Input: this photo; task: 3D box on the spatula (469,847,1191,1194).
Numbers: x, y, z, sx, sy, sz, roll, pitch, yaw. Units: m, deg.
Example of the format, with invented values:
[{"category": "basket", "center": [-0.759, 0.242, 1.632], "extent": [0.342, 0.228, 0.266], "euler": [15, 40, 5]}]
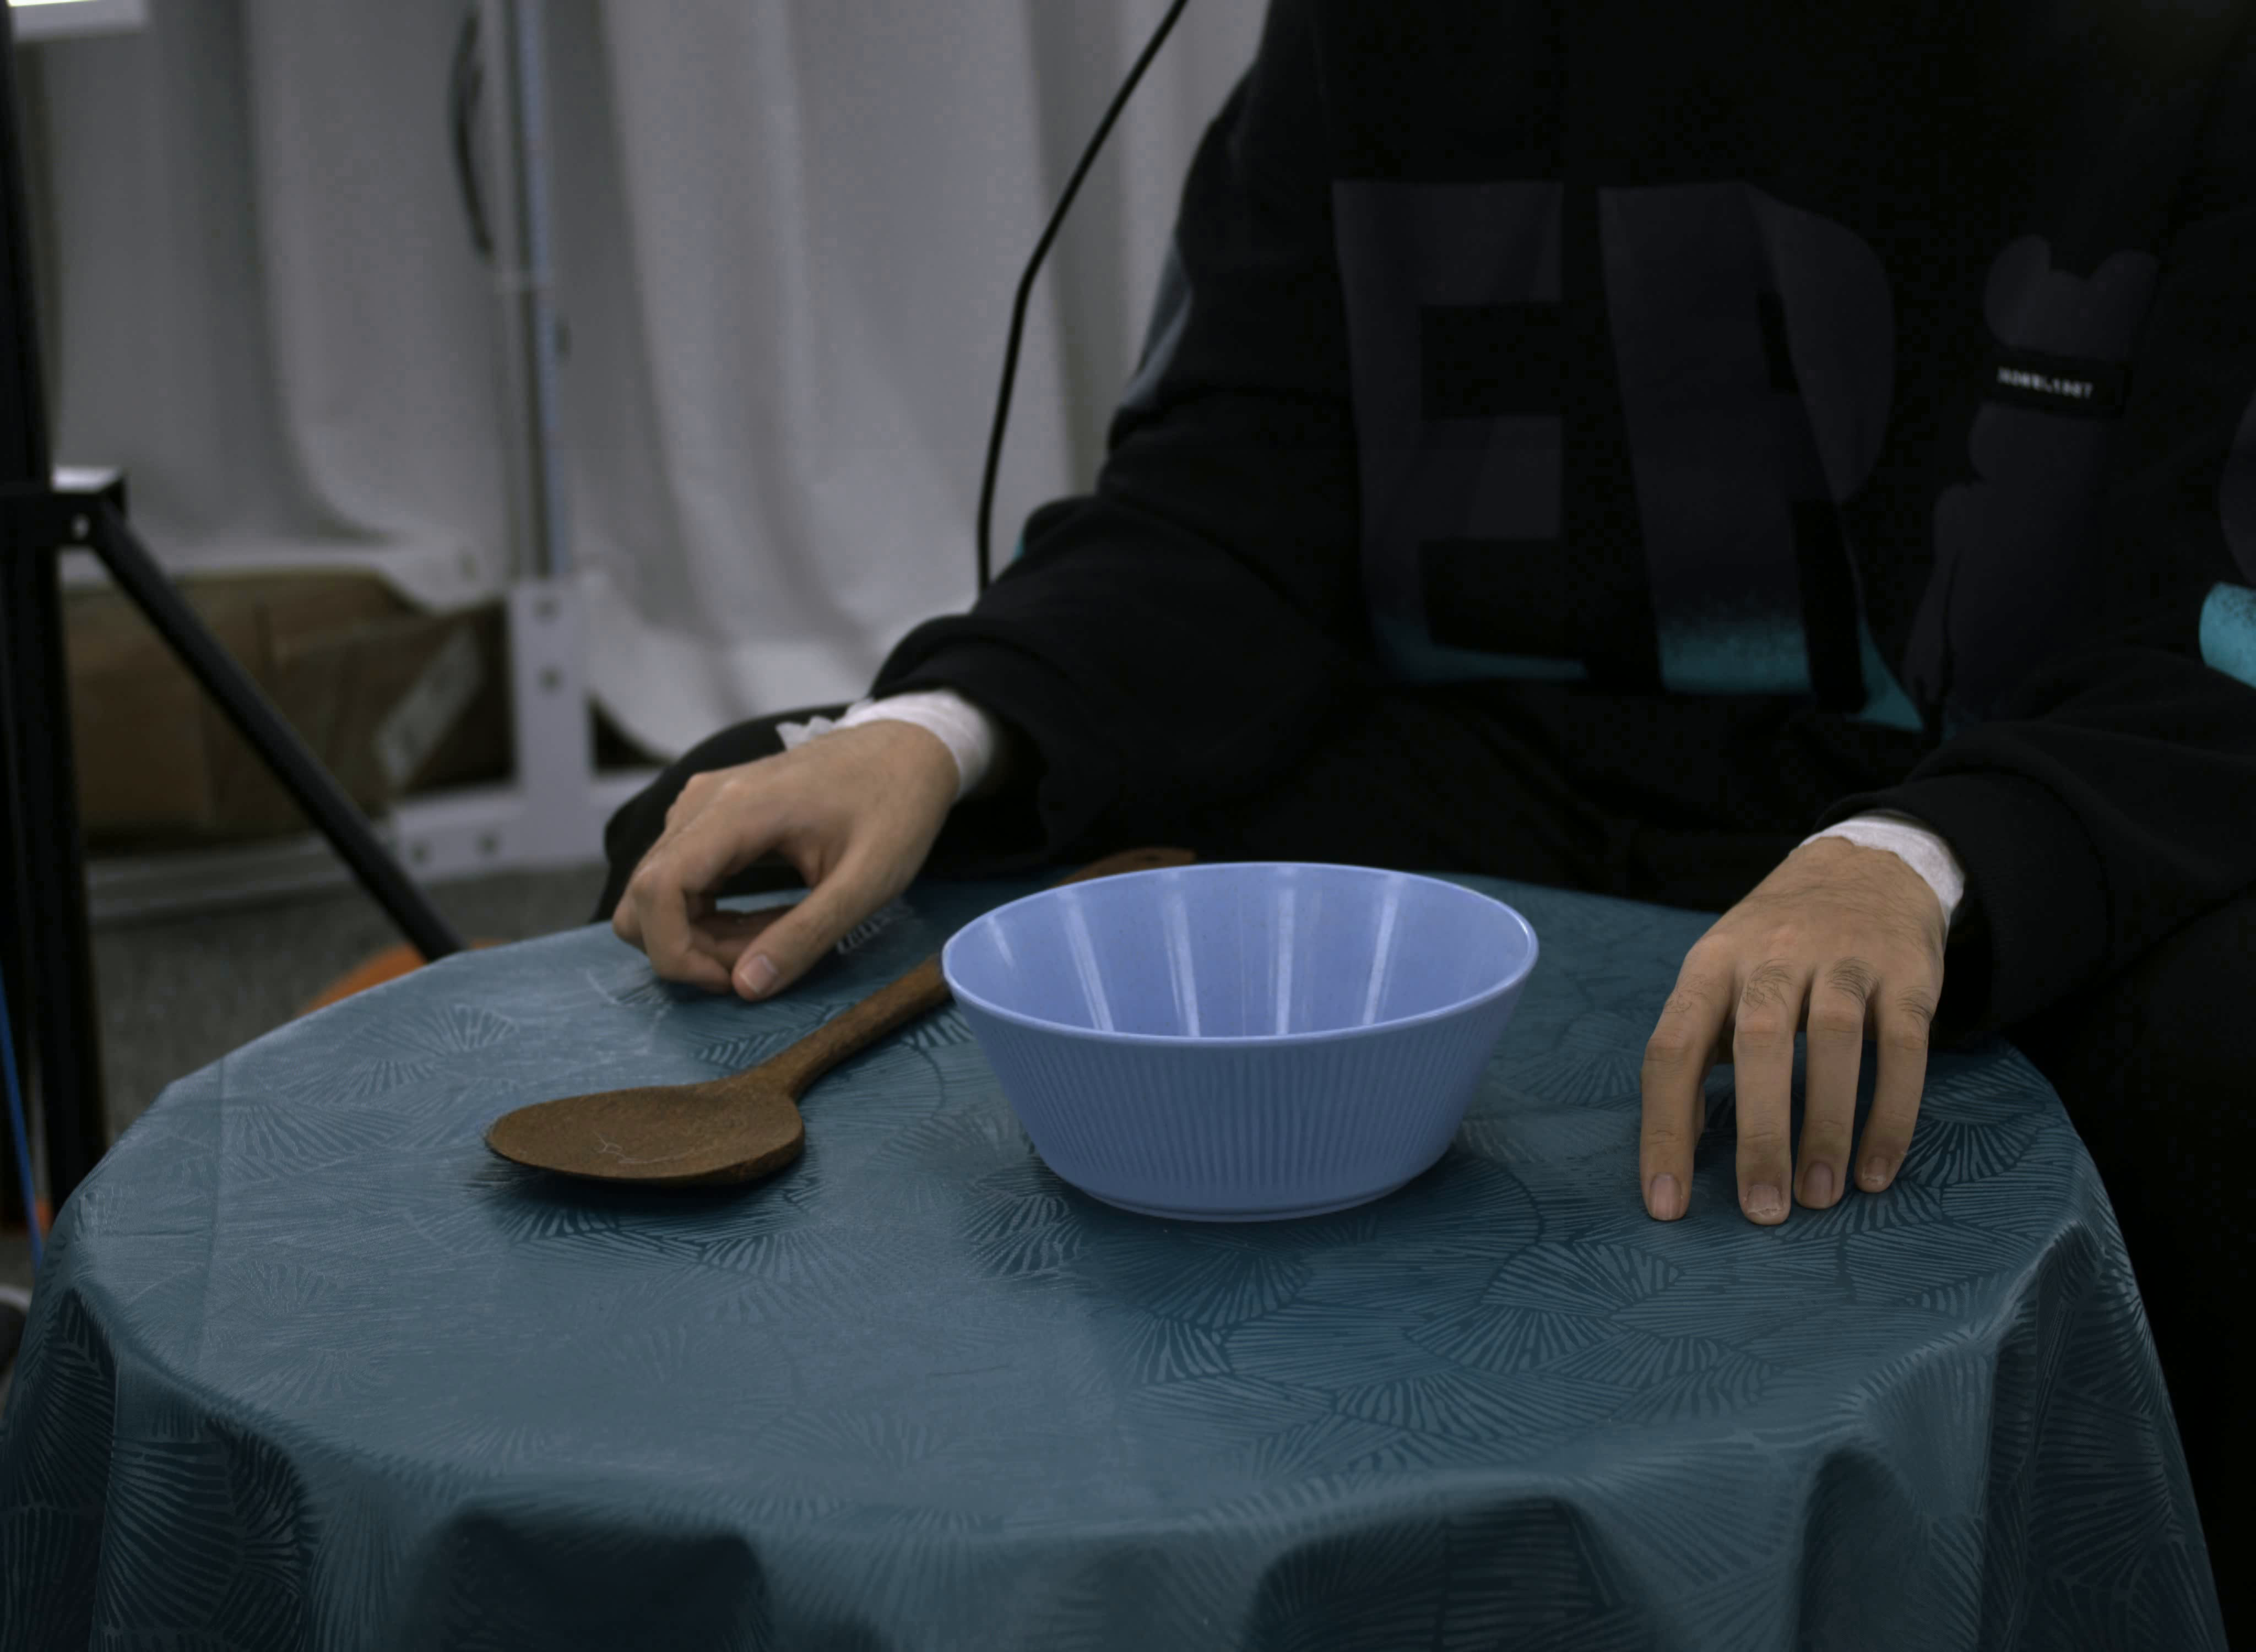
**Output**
[{"category": "spatula", "center": [-0.075, 0.057, 1.725], "extent": [0.098, 0.016, 0.379], "euler": [7, 18, 28]}]

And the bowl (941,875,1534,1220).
[{"category": "bowl", "center": [0.033, 0.067, 1.569], "extent": [0.175, 0.070, 0.177], "euler": [-2, 15, -1]}]
